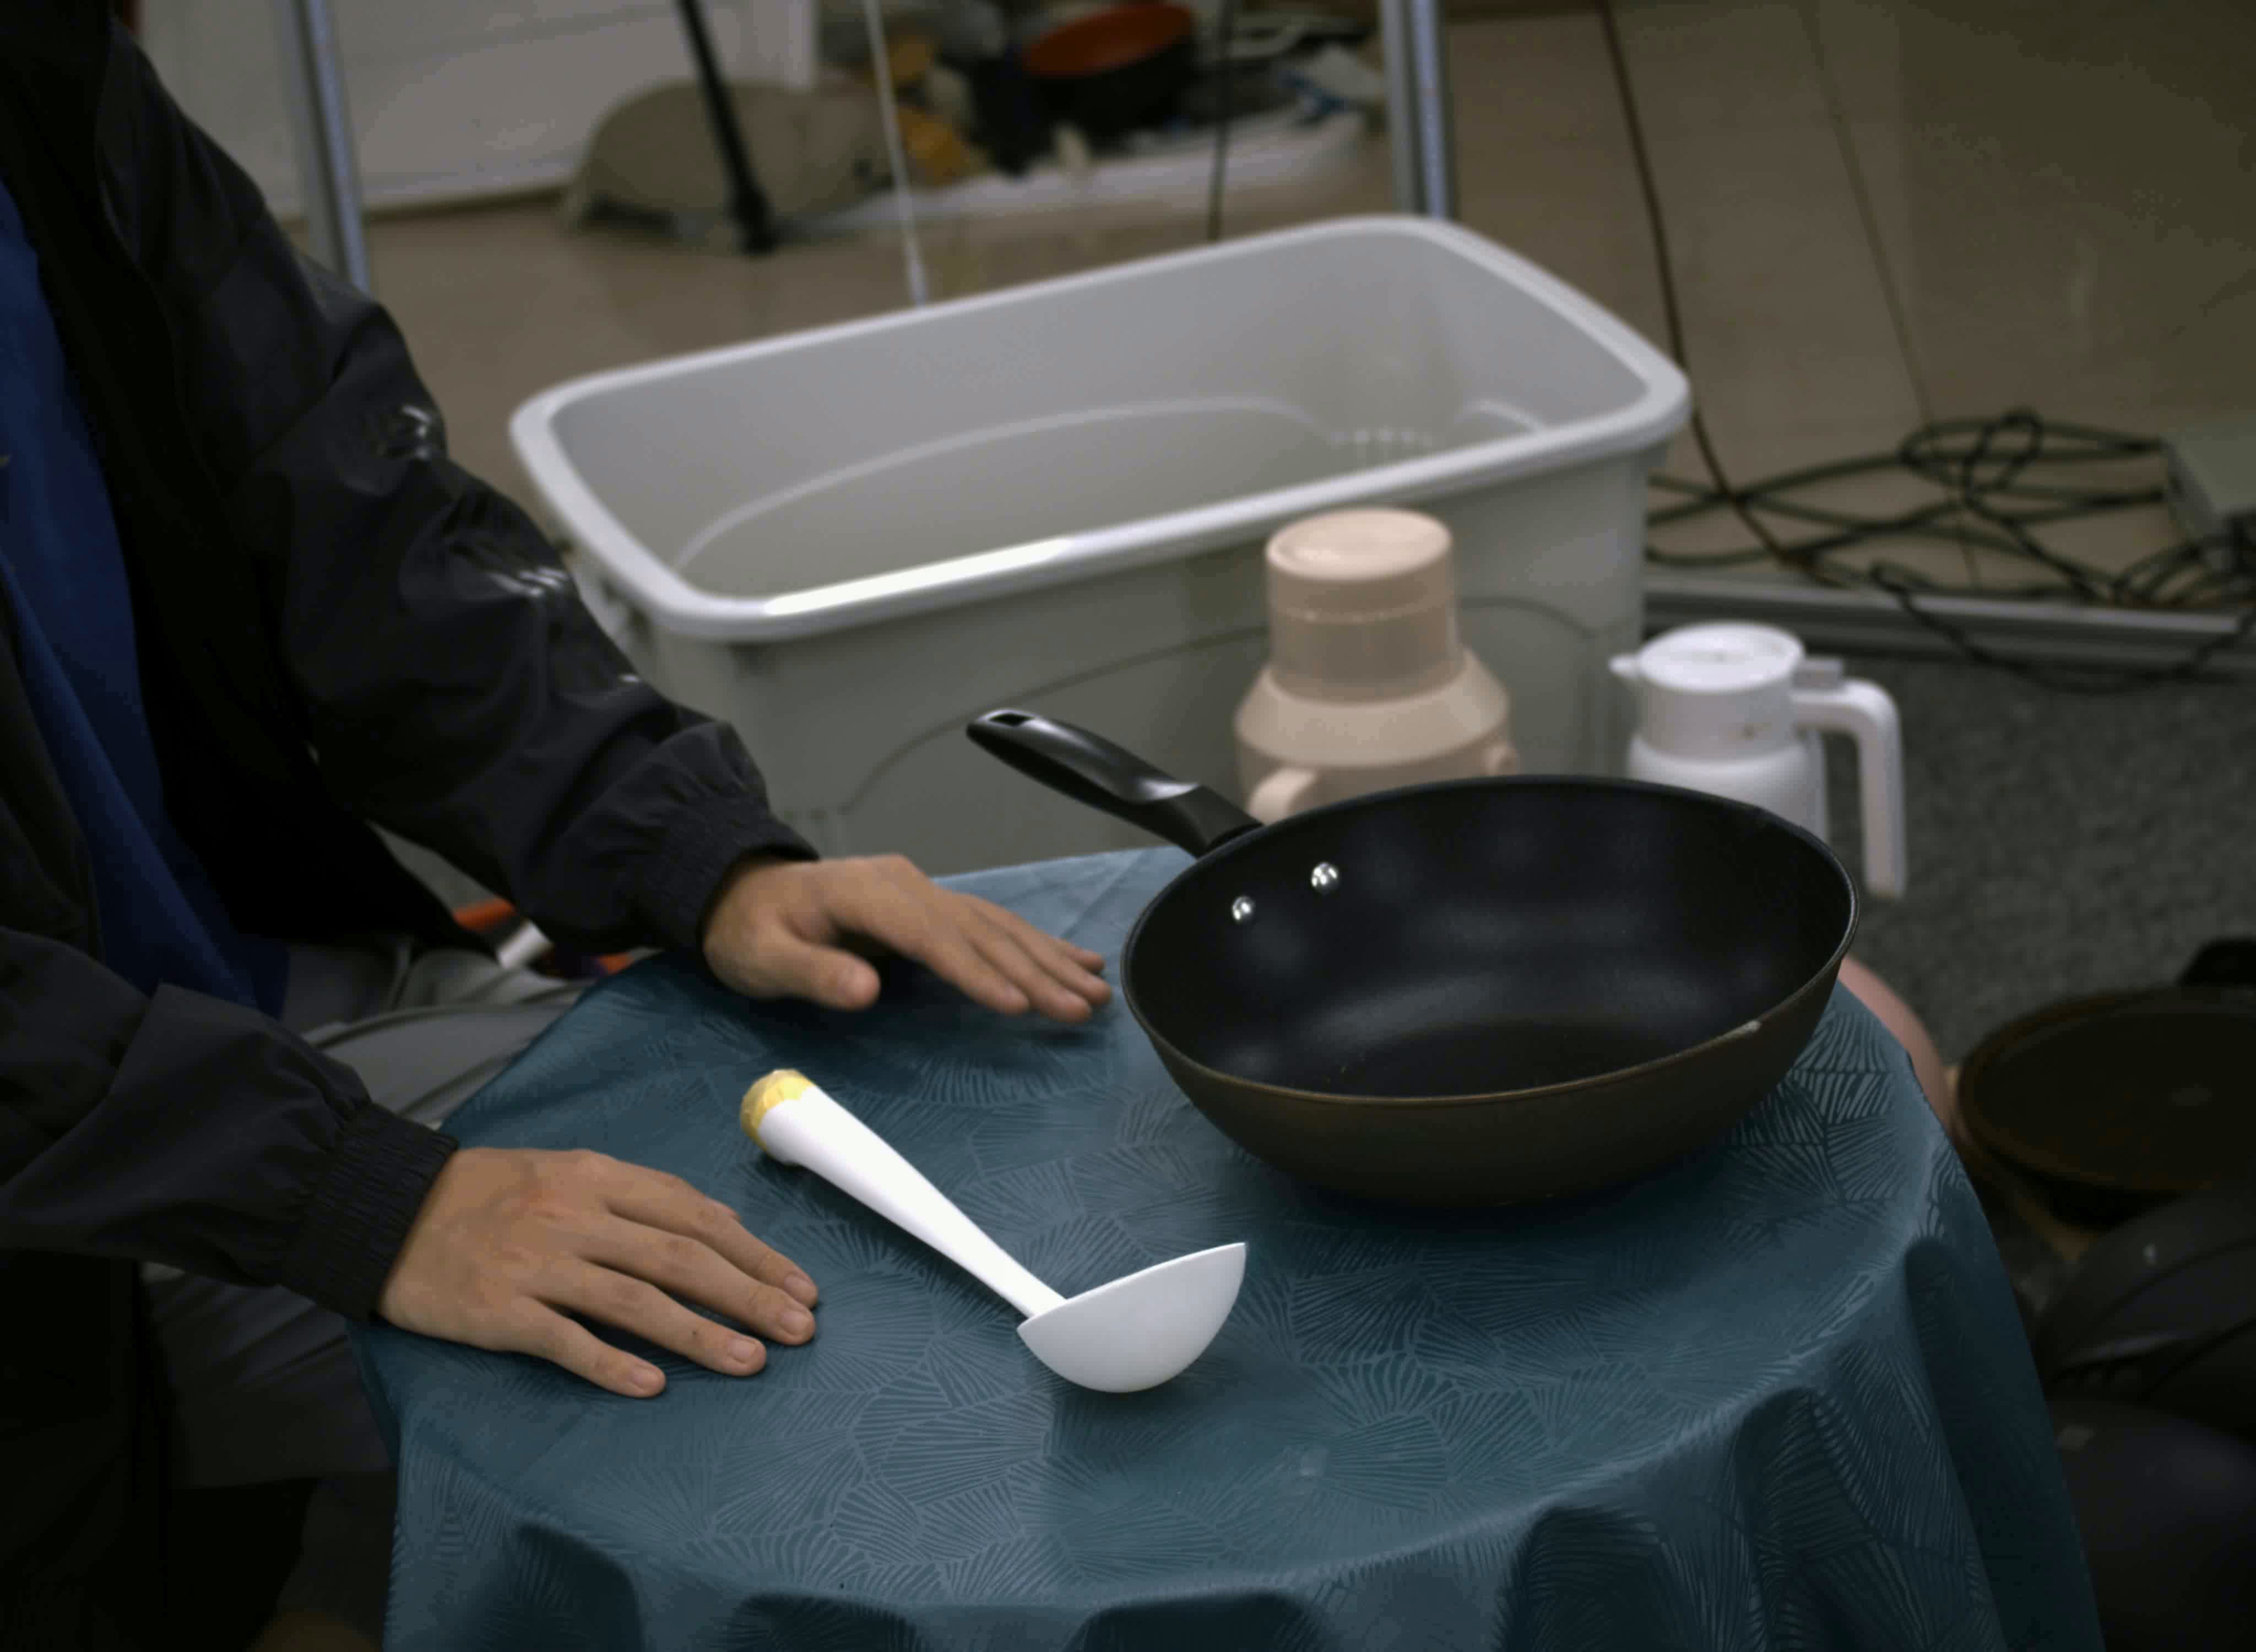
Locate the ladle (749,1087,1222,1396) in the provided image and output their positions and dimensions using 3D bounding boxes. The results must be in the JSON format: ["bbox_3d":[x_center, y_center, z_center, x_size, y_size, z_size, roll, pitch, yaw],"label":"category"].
[{"bbox_3d":[-0.064,0.139,2.086,0.089,0.071,0.290,-22,27,-24],"label":"ladle"}]

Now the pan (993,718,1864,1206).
[{"bbox_3d":[0.085,0.050,2.221,0.286,0.088,0.459,-22,27,-31],"label":"pan"}]
